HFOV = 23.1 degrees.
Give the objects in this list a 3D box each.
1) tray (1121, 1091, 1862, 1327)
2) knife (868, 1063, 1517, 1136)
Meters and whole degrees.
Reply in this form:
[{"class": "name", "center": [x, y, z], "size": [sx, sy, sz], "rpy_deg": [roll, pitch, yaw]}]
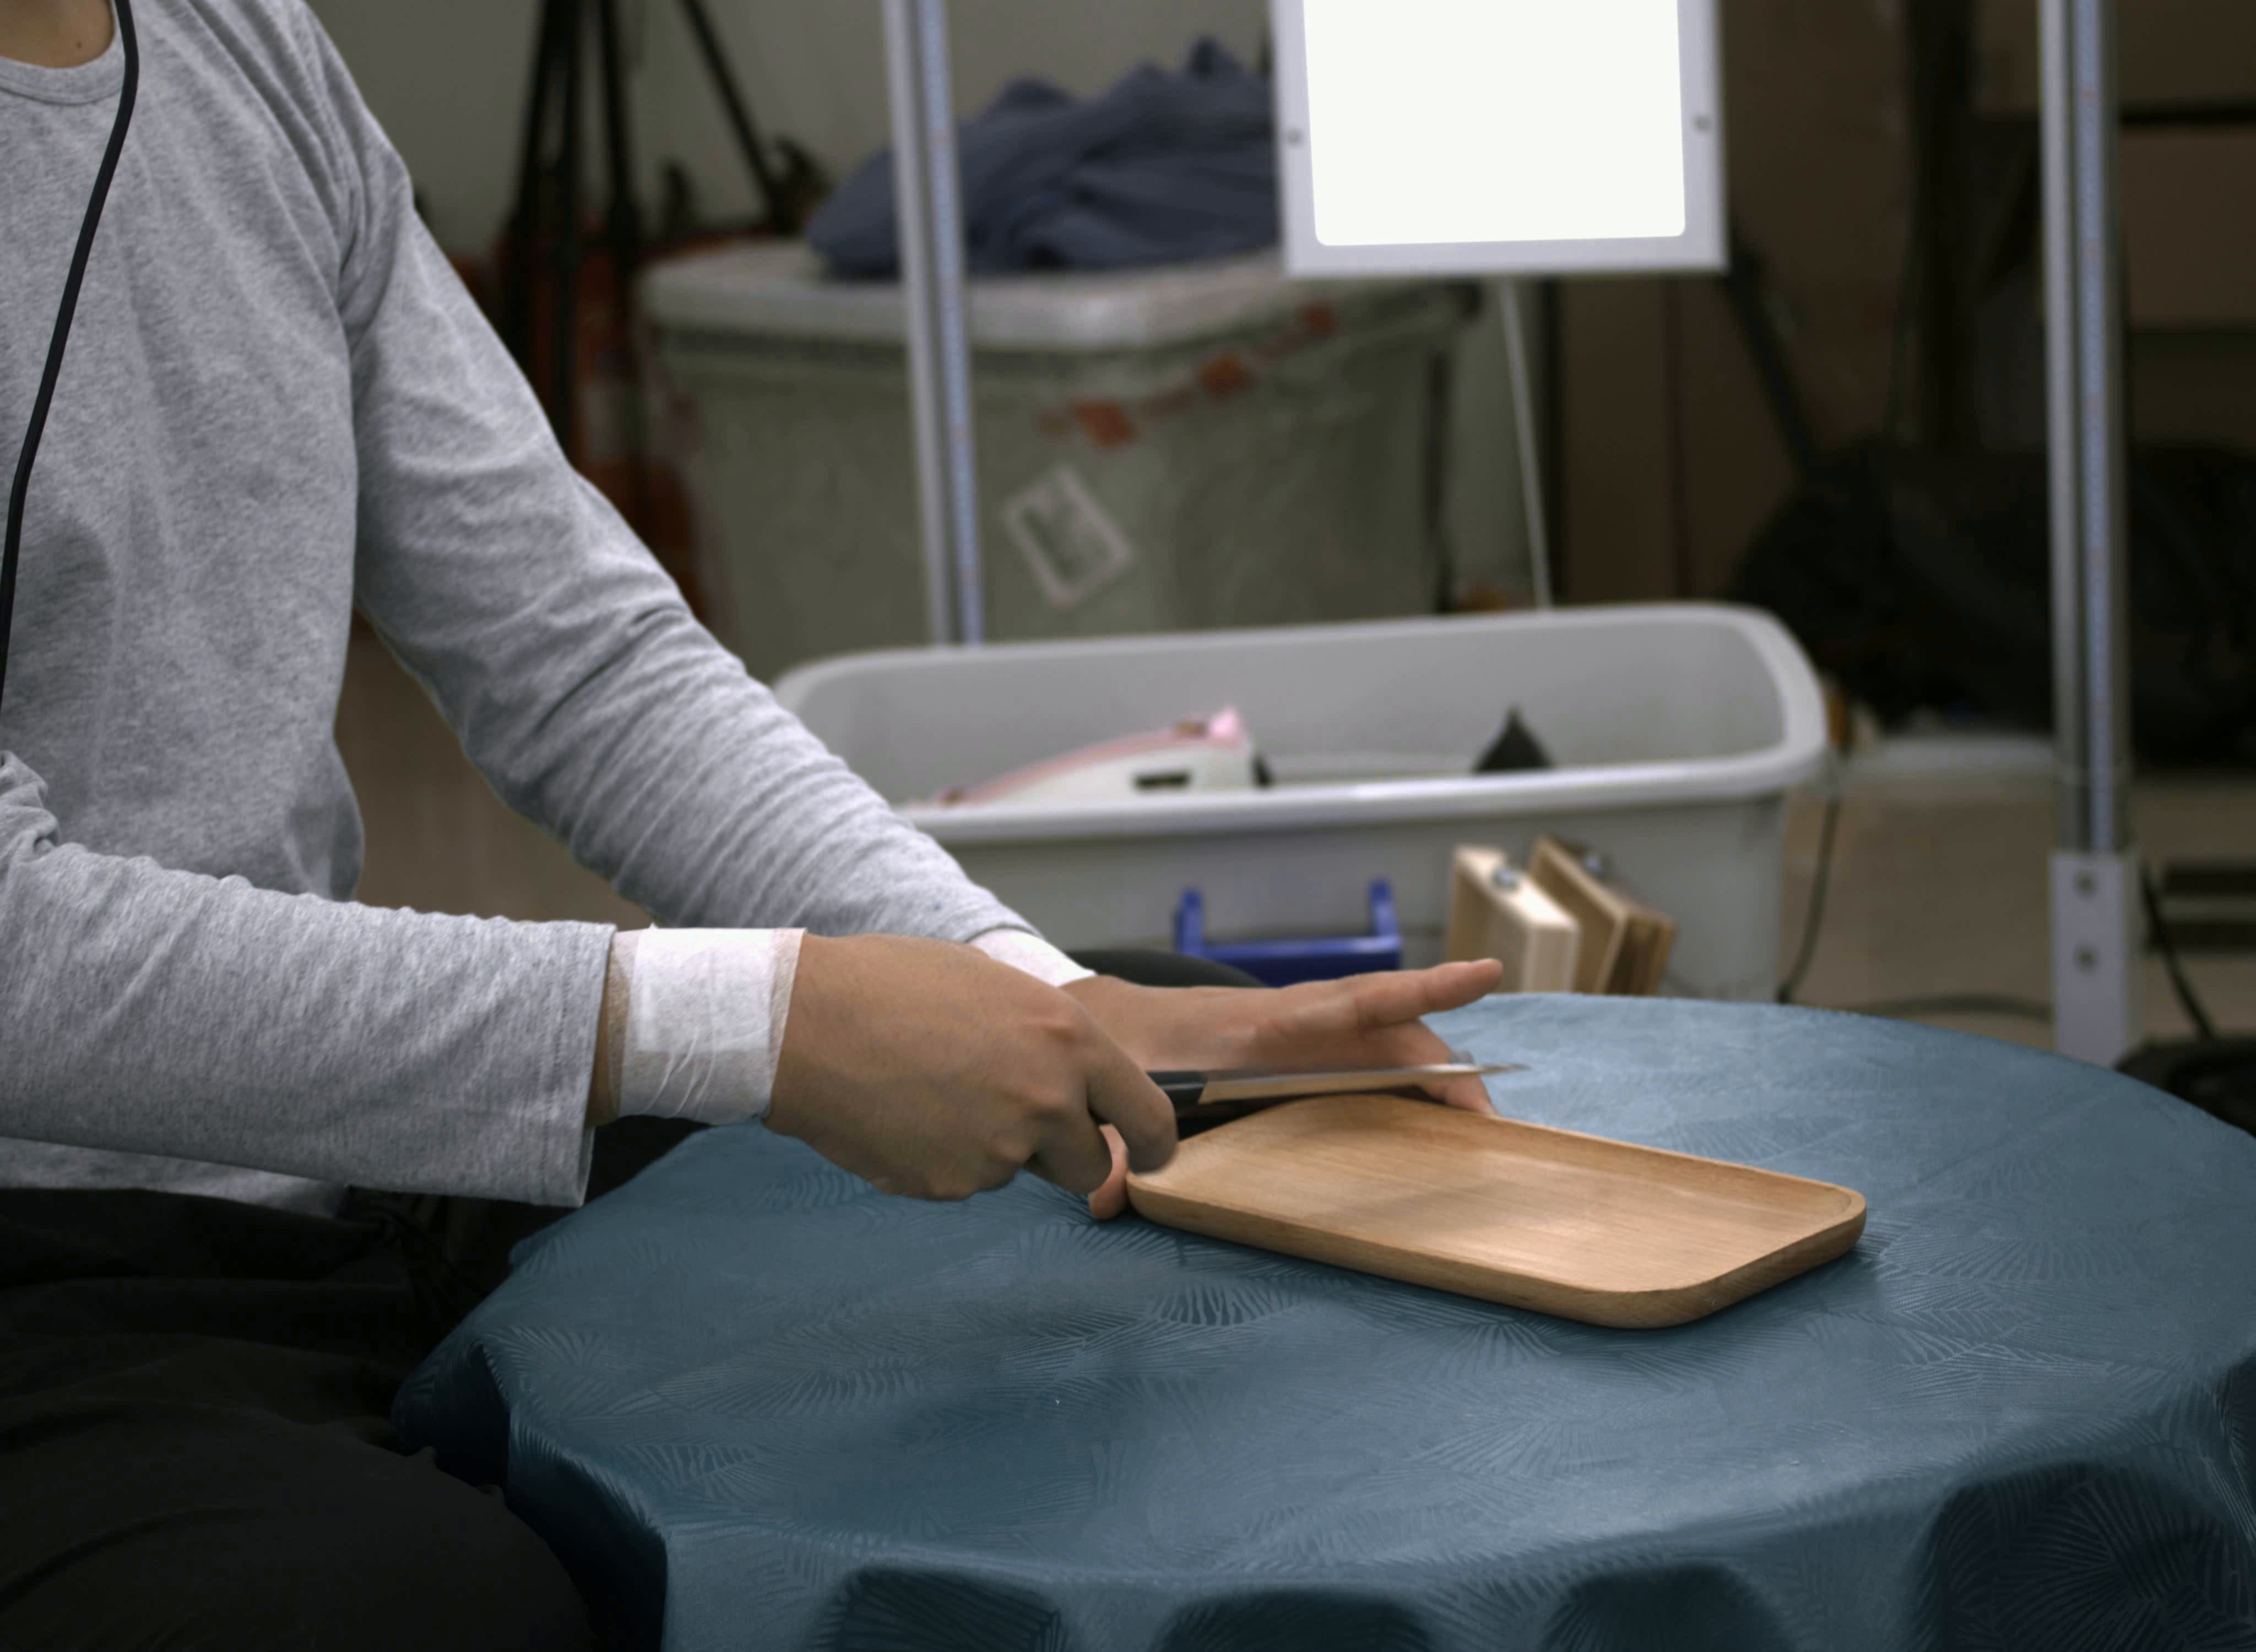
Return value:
[{"class": "tray", "center": [0.119, 0.126, 1.829], "size": [0.127, 0.023, 0.256], "rpy_deg": [-13, 15, -41]}, {"class": "knife", "center": [0.026, 0.086, 1.809], "size": [0.233, 0.016, 0.025], "rpy_deg": [-3, -15, -23]}]
